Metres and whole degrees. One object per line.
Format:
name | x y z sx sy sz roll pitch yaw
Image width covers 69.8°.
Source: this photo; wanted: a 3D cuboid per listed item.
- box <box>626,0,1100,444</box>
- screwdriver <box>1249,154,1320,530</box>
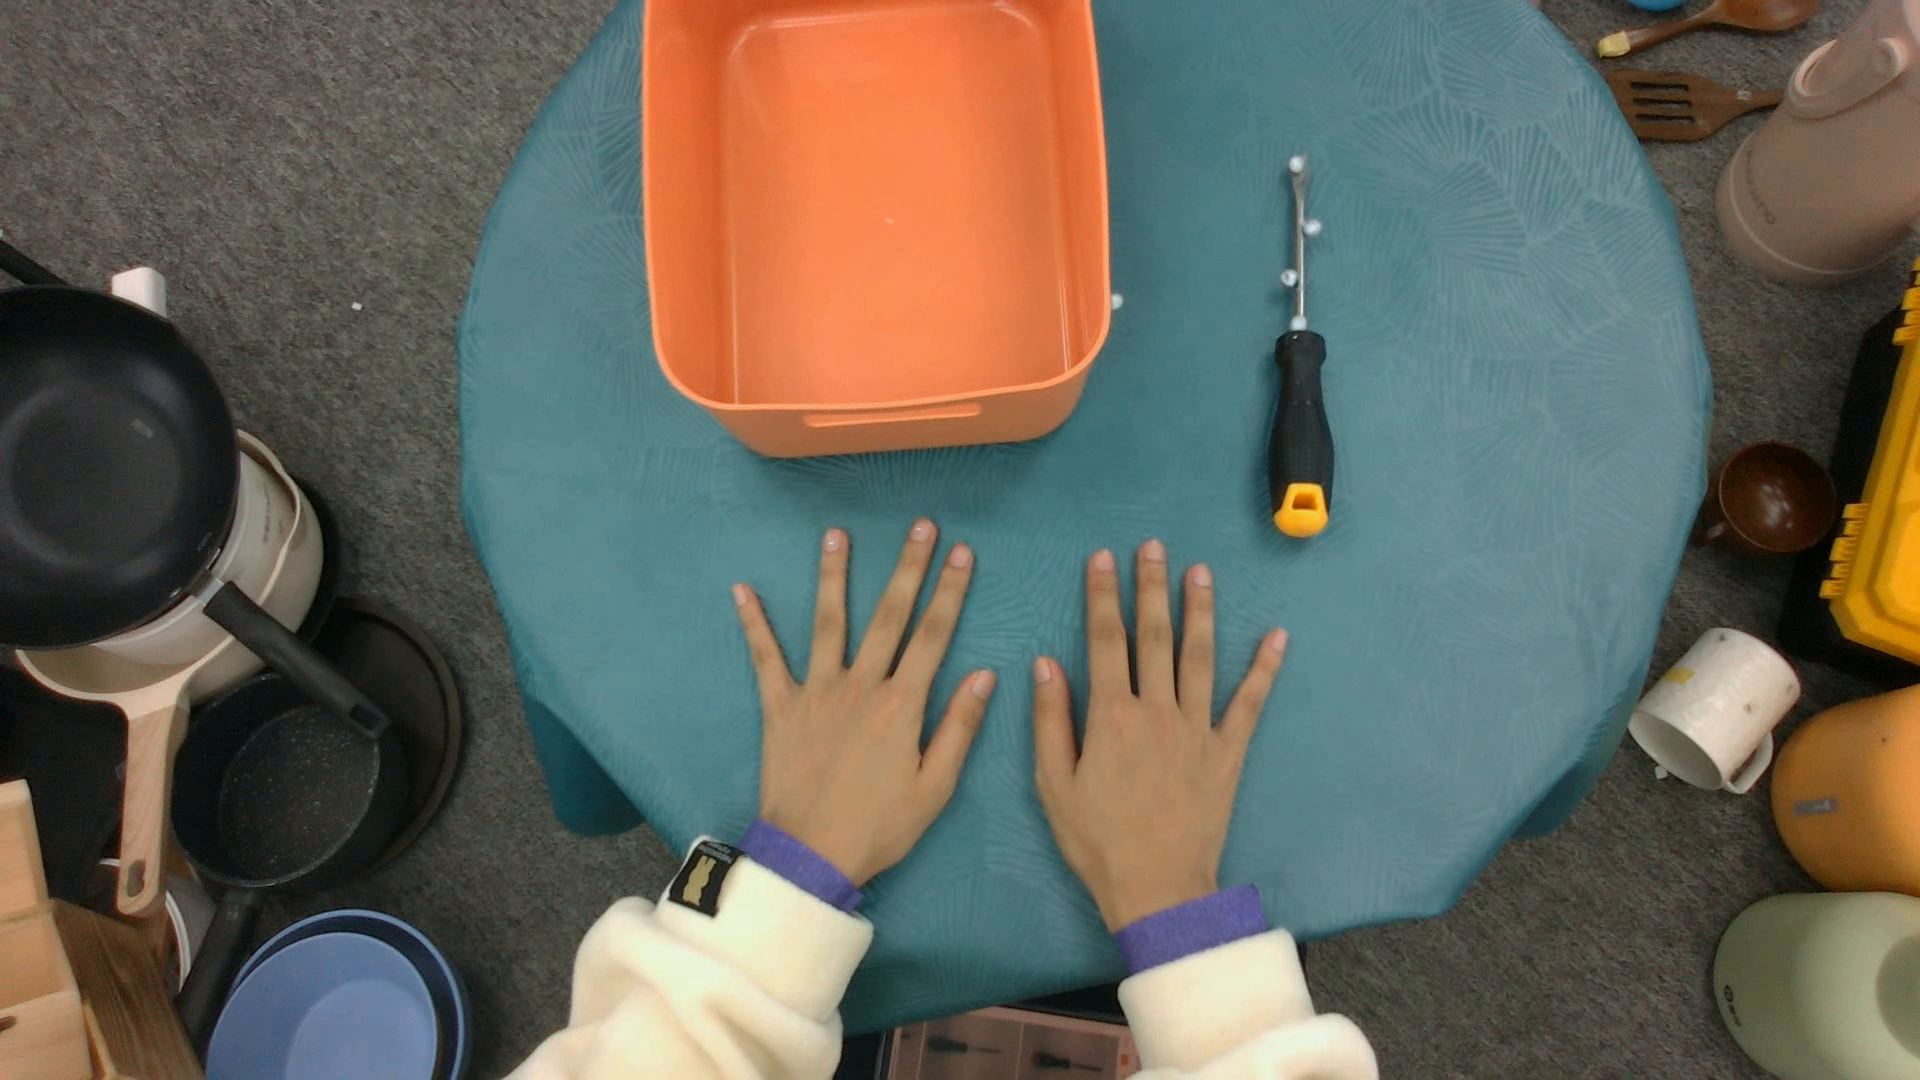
box | -0.044 -0.178 0.640 0.199 0.102 0.274 -4 74 0
screwdriver | 0.145 -0.097 0.640 0.031 0.031 0.198 -1 66 2
